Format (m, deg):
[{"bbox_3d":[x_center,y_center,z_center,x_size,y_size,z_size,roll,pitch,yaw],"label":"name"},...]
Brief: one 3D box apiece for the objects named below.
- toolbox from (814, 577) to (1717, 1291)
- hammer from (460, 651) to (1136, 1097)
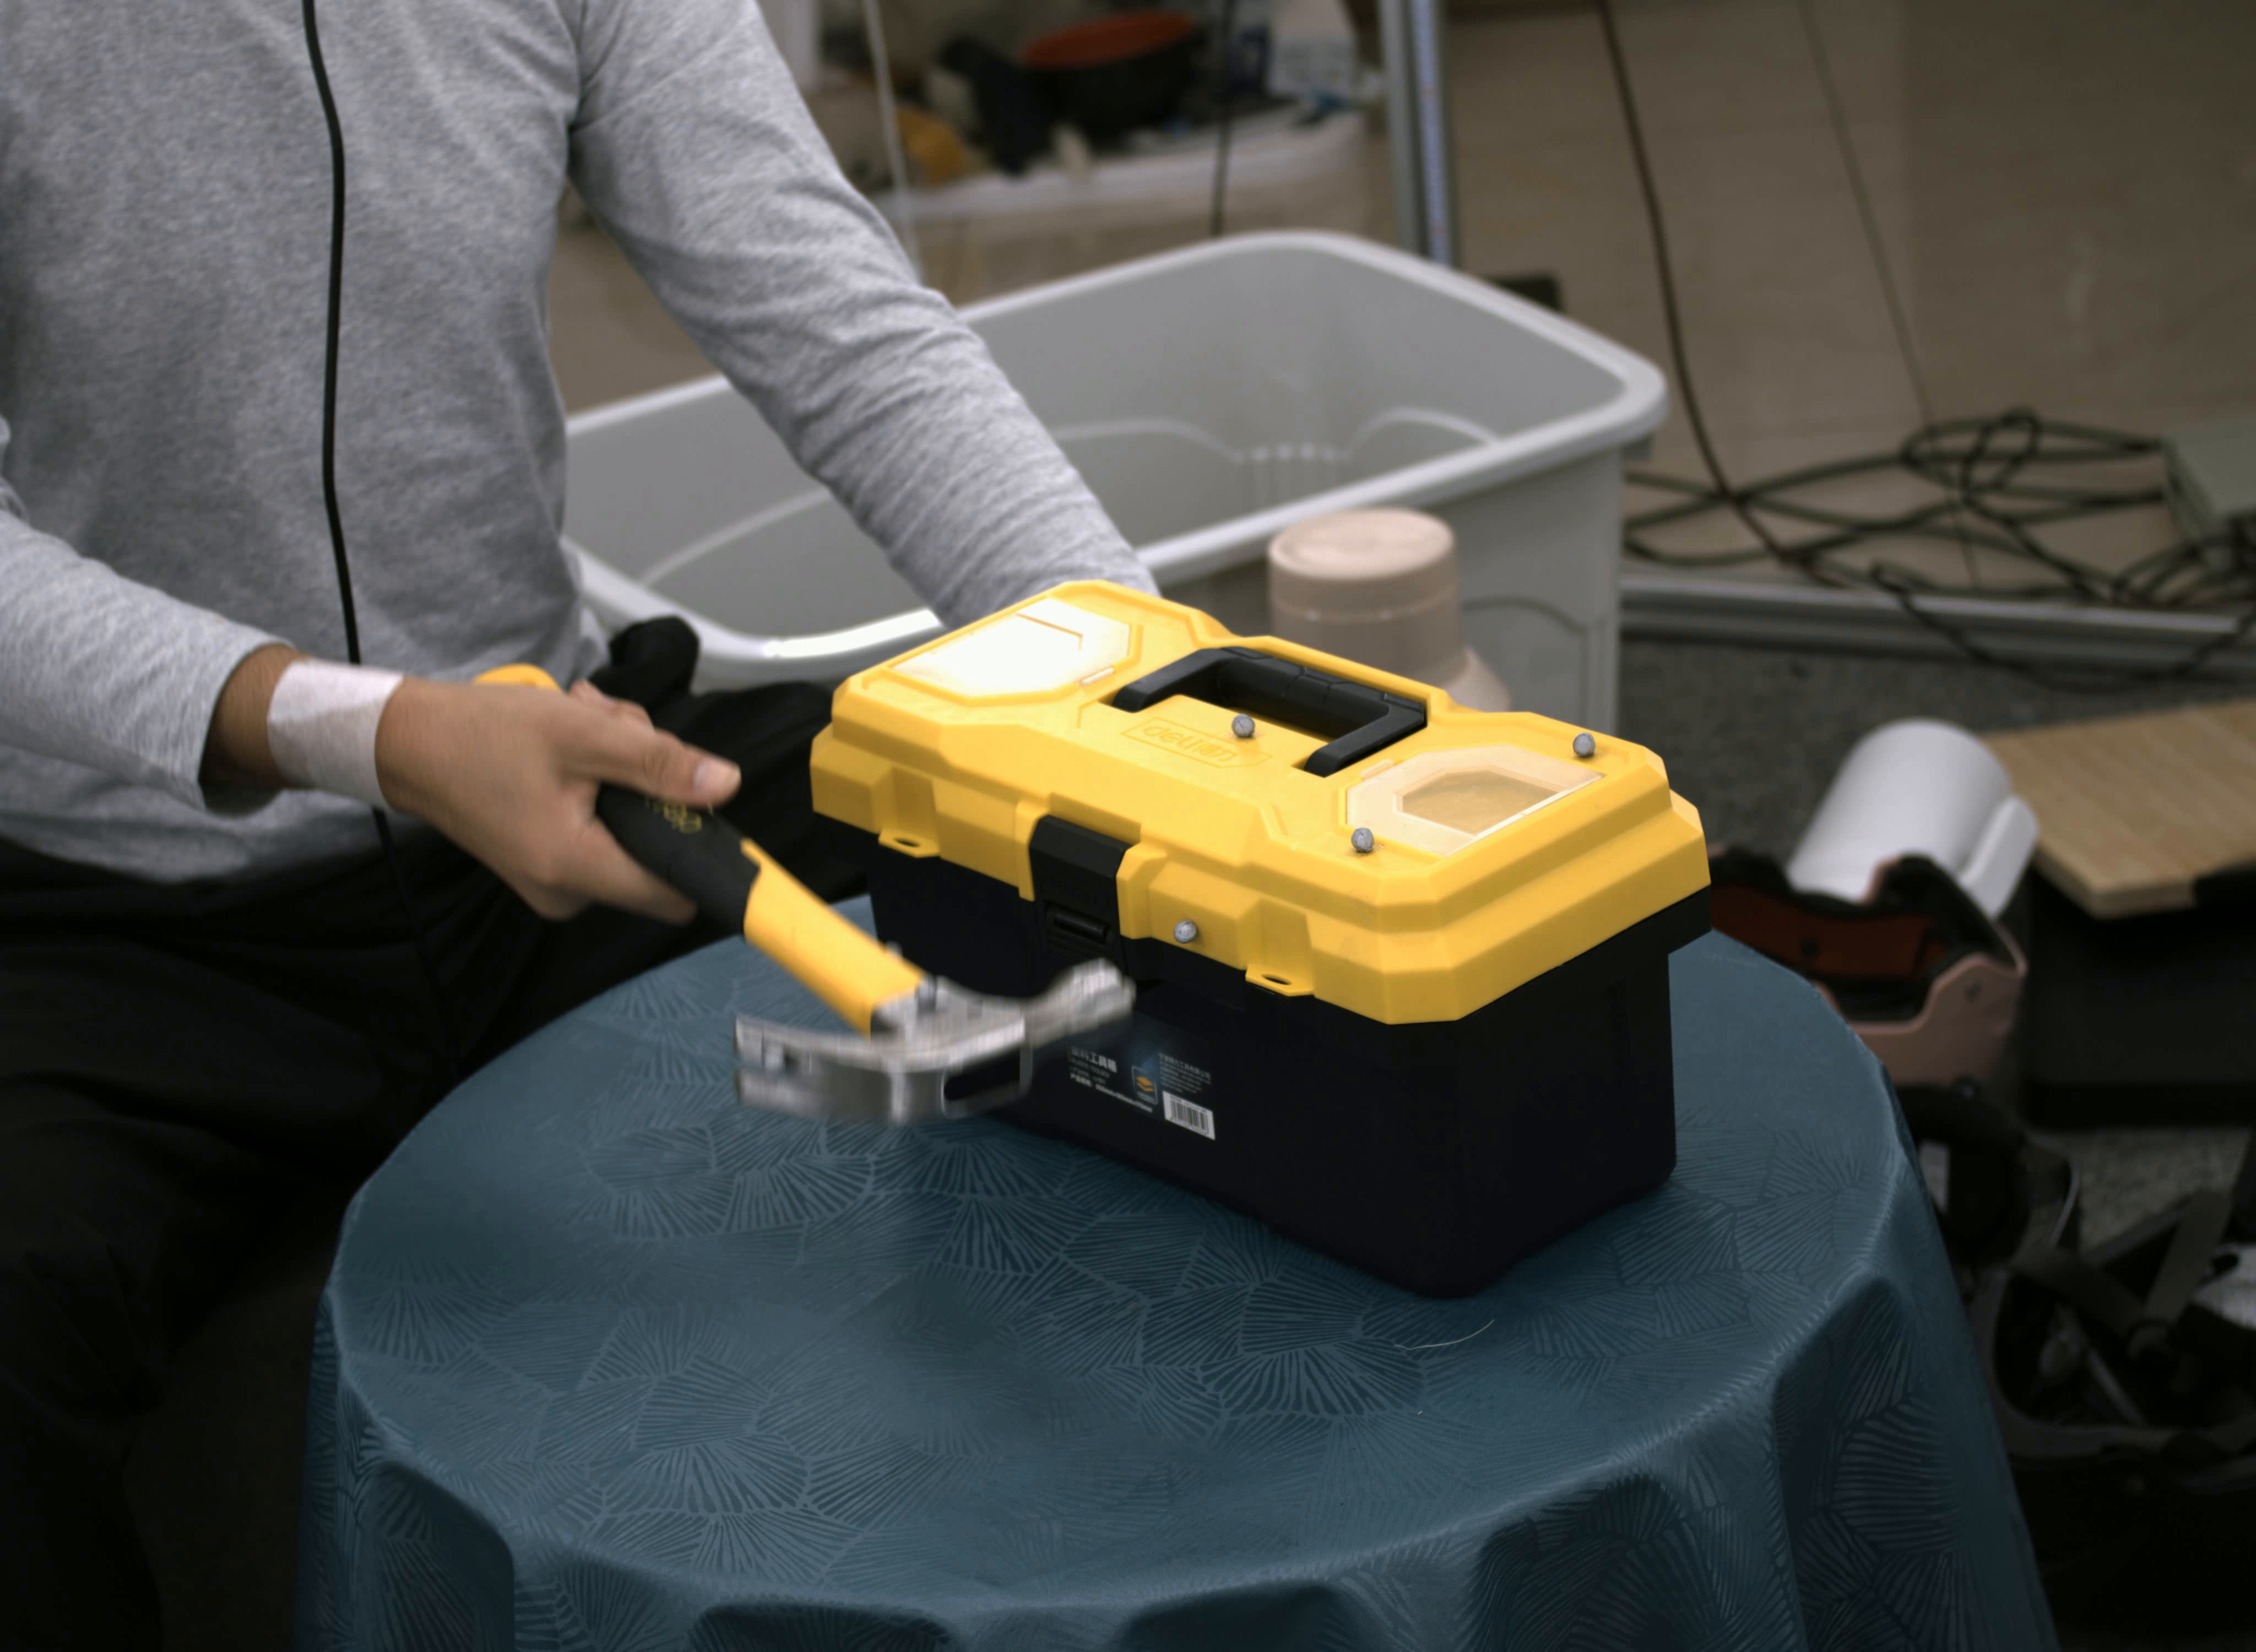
[{"bbox_3d":[0.049,0.037,2.148,0.180,0.175,0.348,-26,31,-35],"label":"toolbox"},{"bbox_3d":[-0.146,0.010,2.062,0.130,0.033,0.334,-20,35,-30],"label":"hammer"}]
